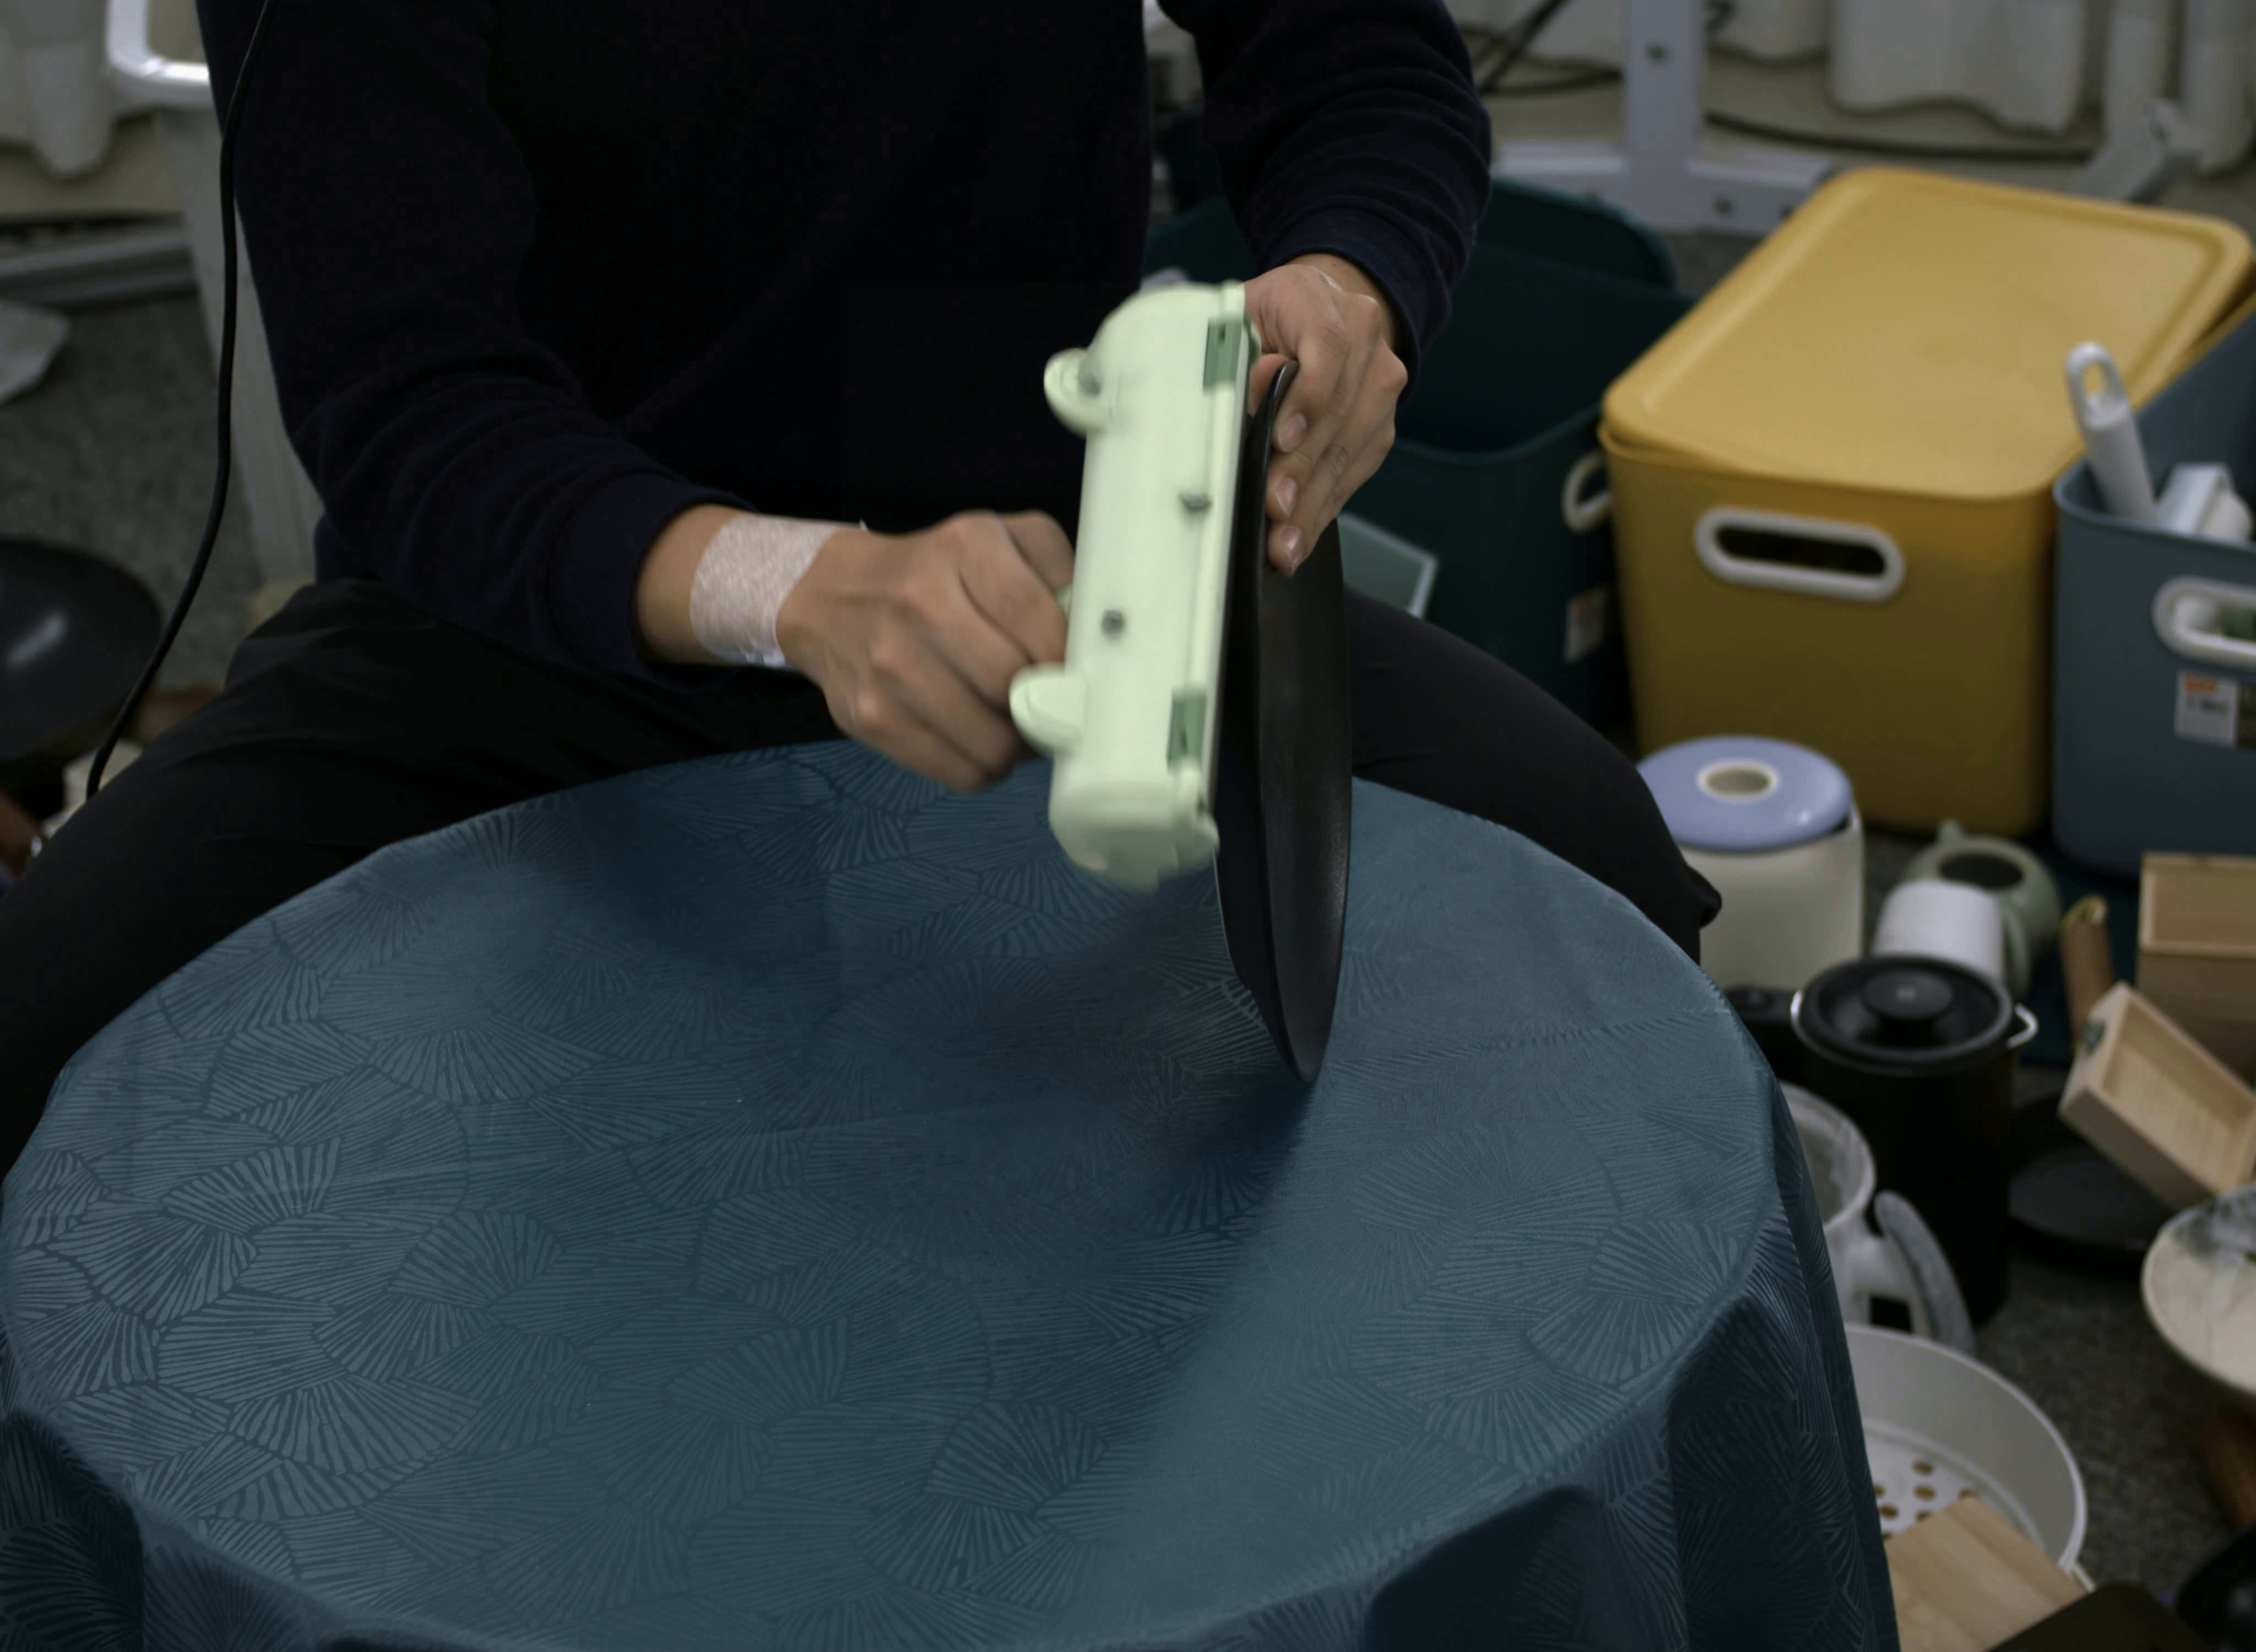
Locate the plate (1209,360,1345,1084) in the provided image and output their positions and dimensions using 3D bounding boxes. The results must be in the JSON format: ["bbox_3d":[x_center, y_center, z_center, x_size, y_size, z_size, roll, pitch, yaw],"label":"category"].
[{"bbox_3d":[0.050,-0.035,1.897,0.023,0.242,0.248,-1,27,9],"label":"plate"}]

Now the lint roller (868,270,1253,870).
[{"bbox_3d":[-0.038,-0.073,1.832,0.180,0.082,0.202,-20,52,37],"label":"lint roller"}]
